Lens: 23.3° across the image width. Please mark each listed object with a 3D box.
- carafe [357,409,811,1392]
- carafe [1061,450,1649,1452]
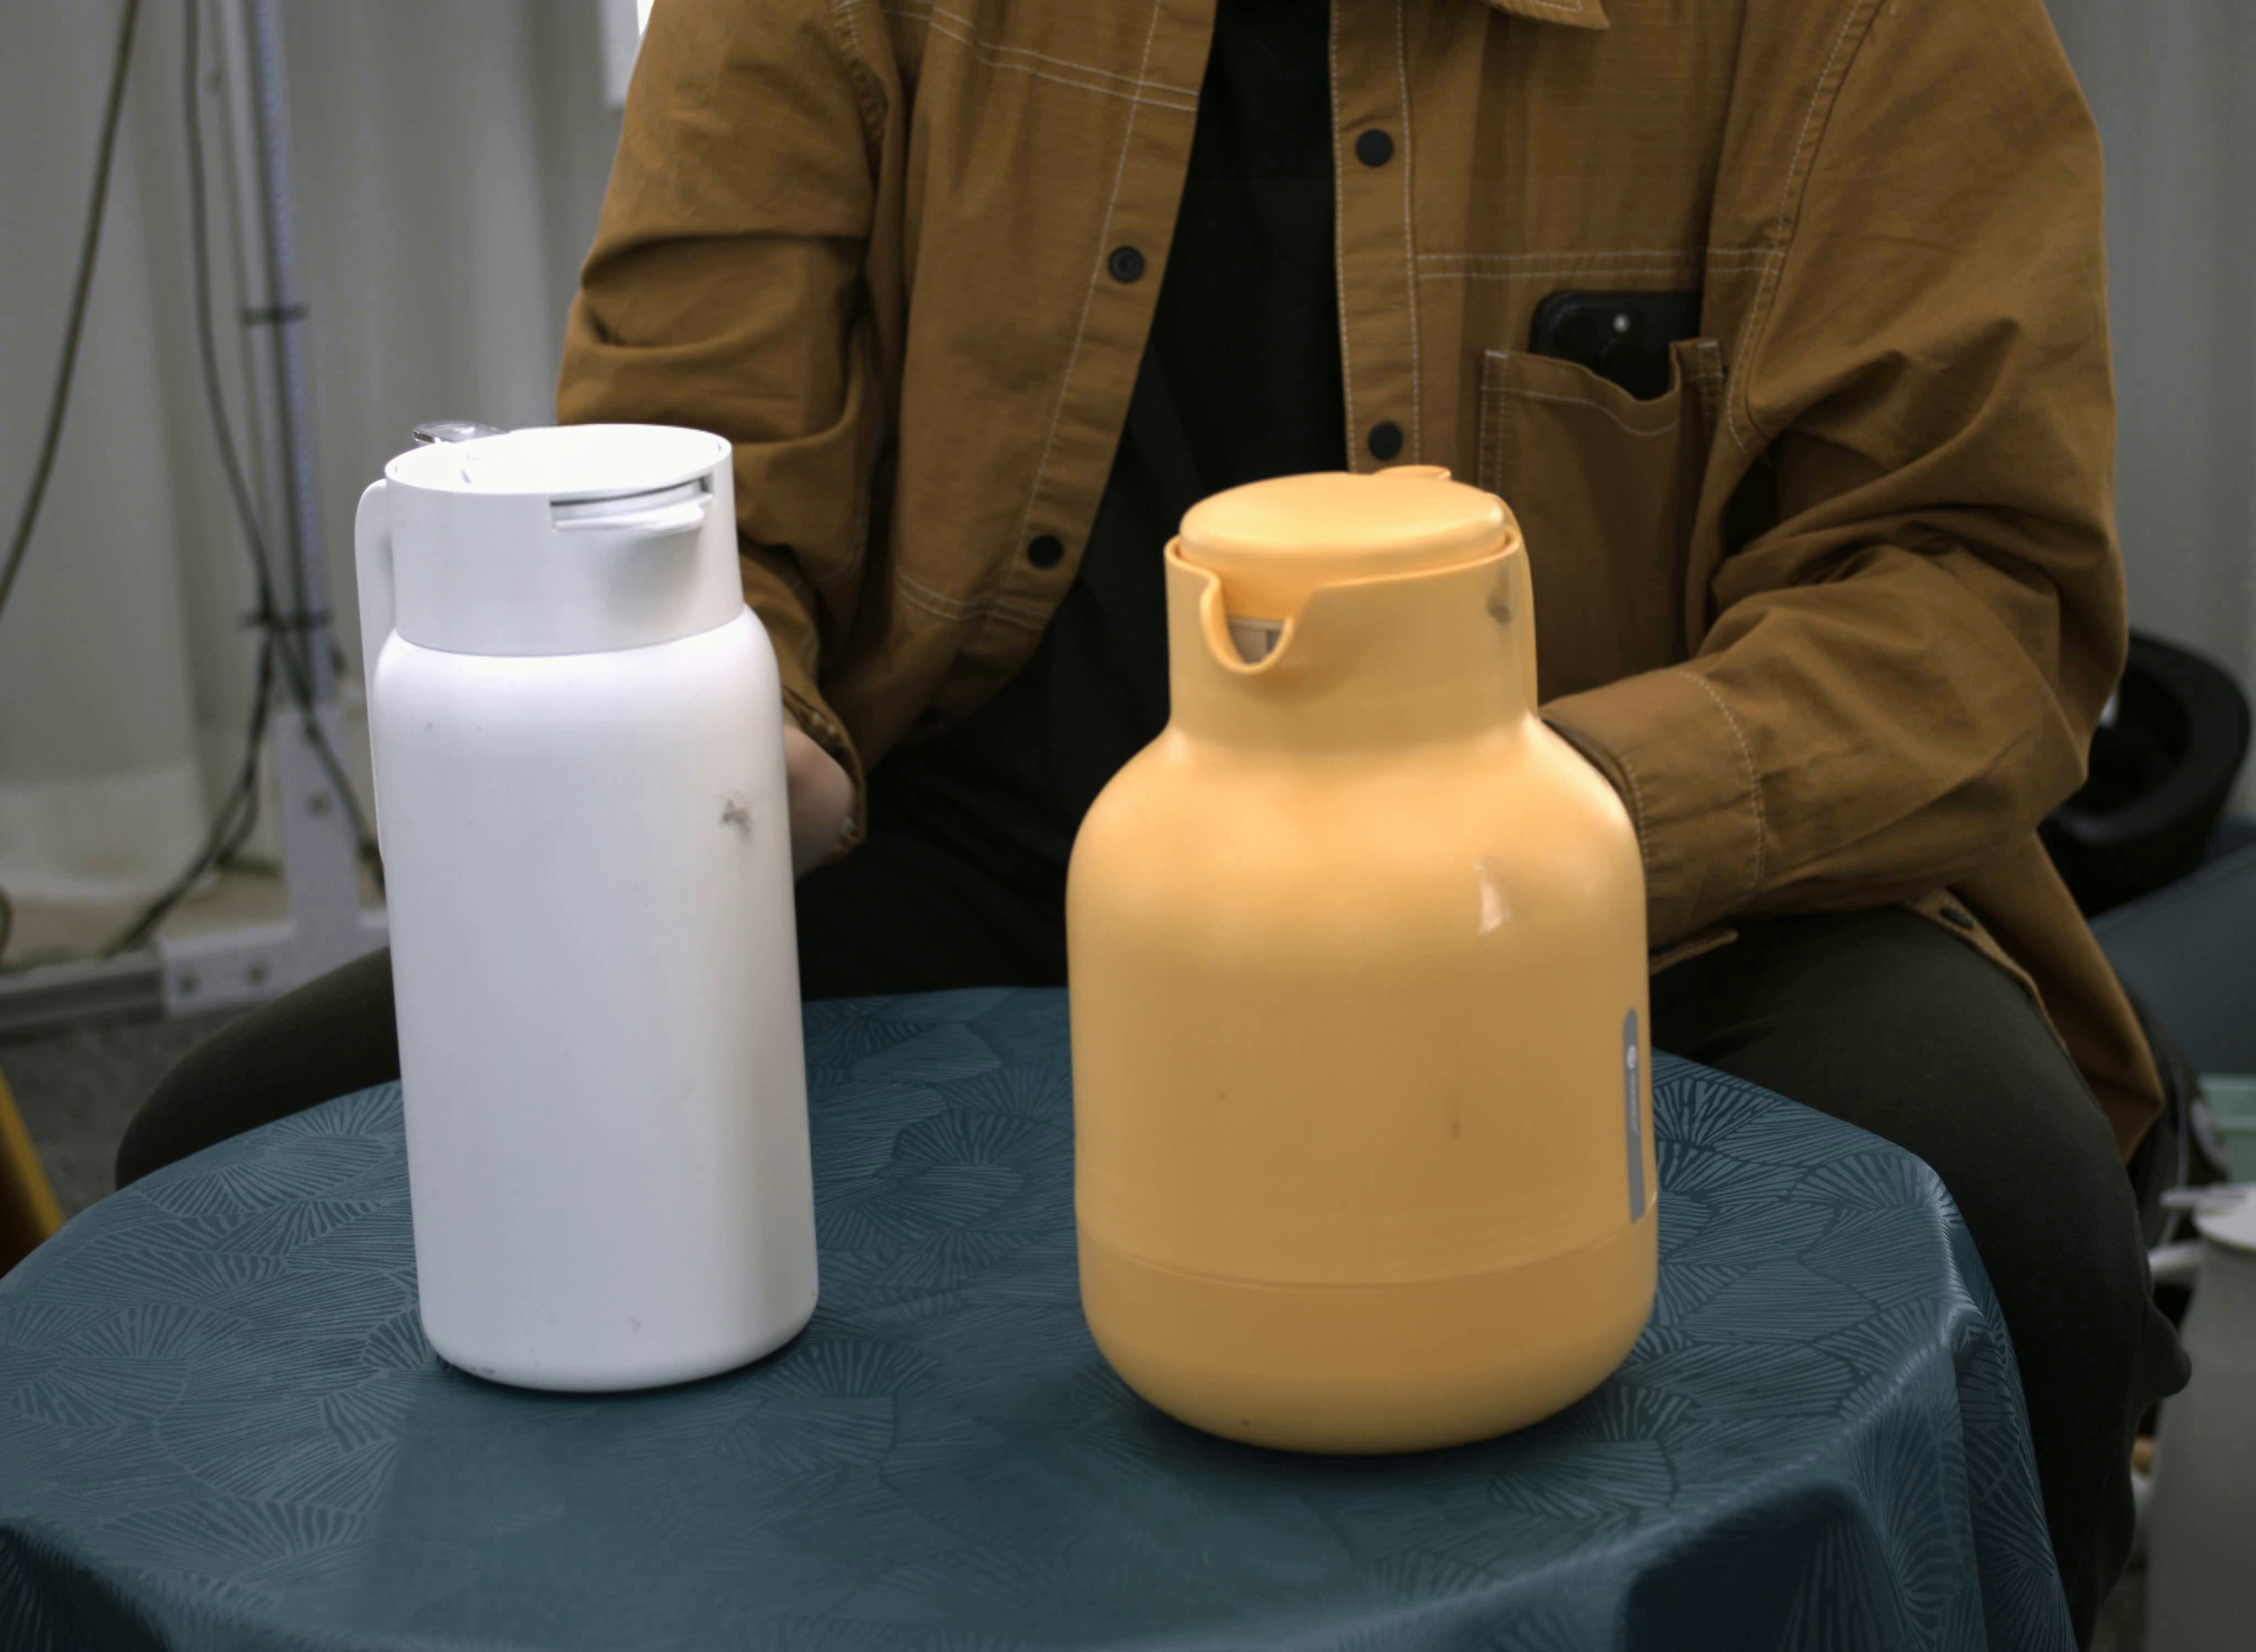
[{"bbox_3d":[-0.167,0.018,1.592,0.123,0.268,0.174,-14,18,-34],"label":"carafe"},{"bbox_3d":[0.071,0.026,1.525,0.164,0.259,0.203,7,18,25],"label":"carafe"}]
